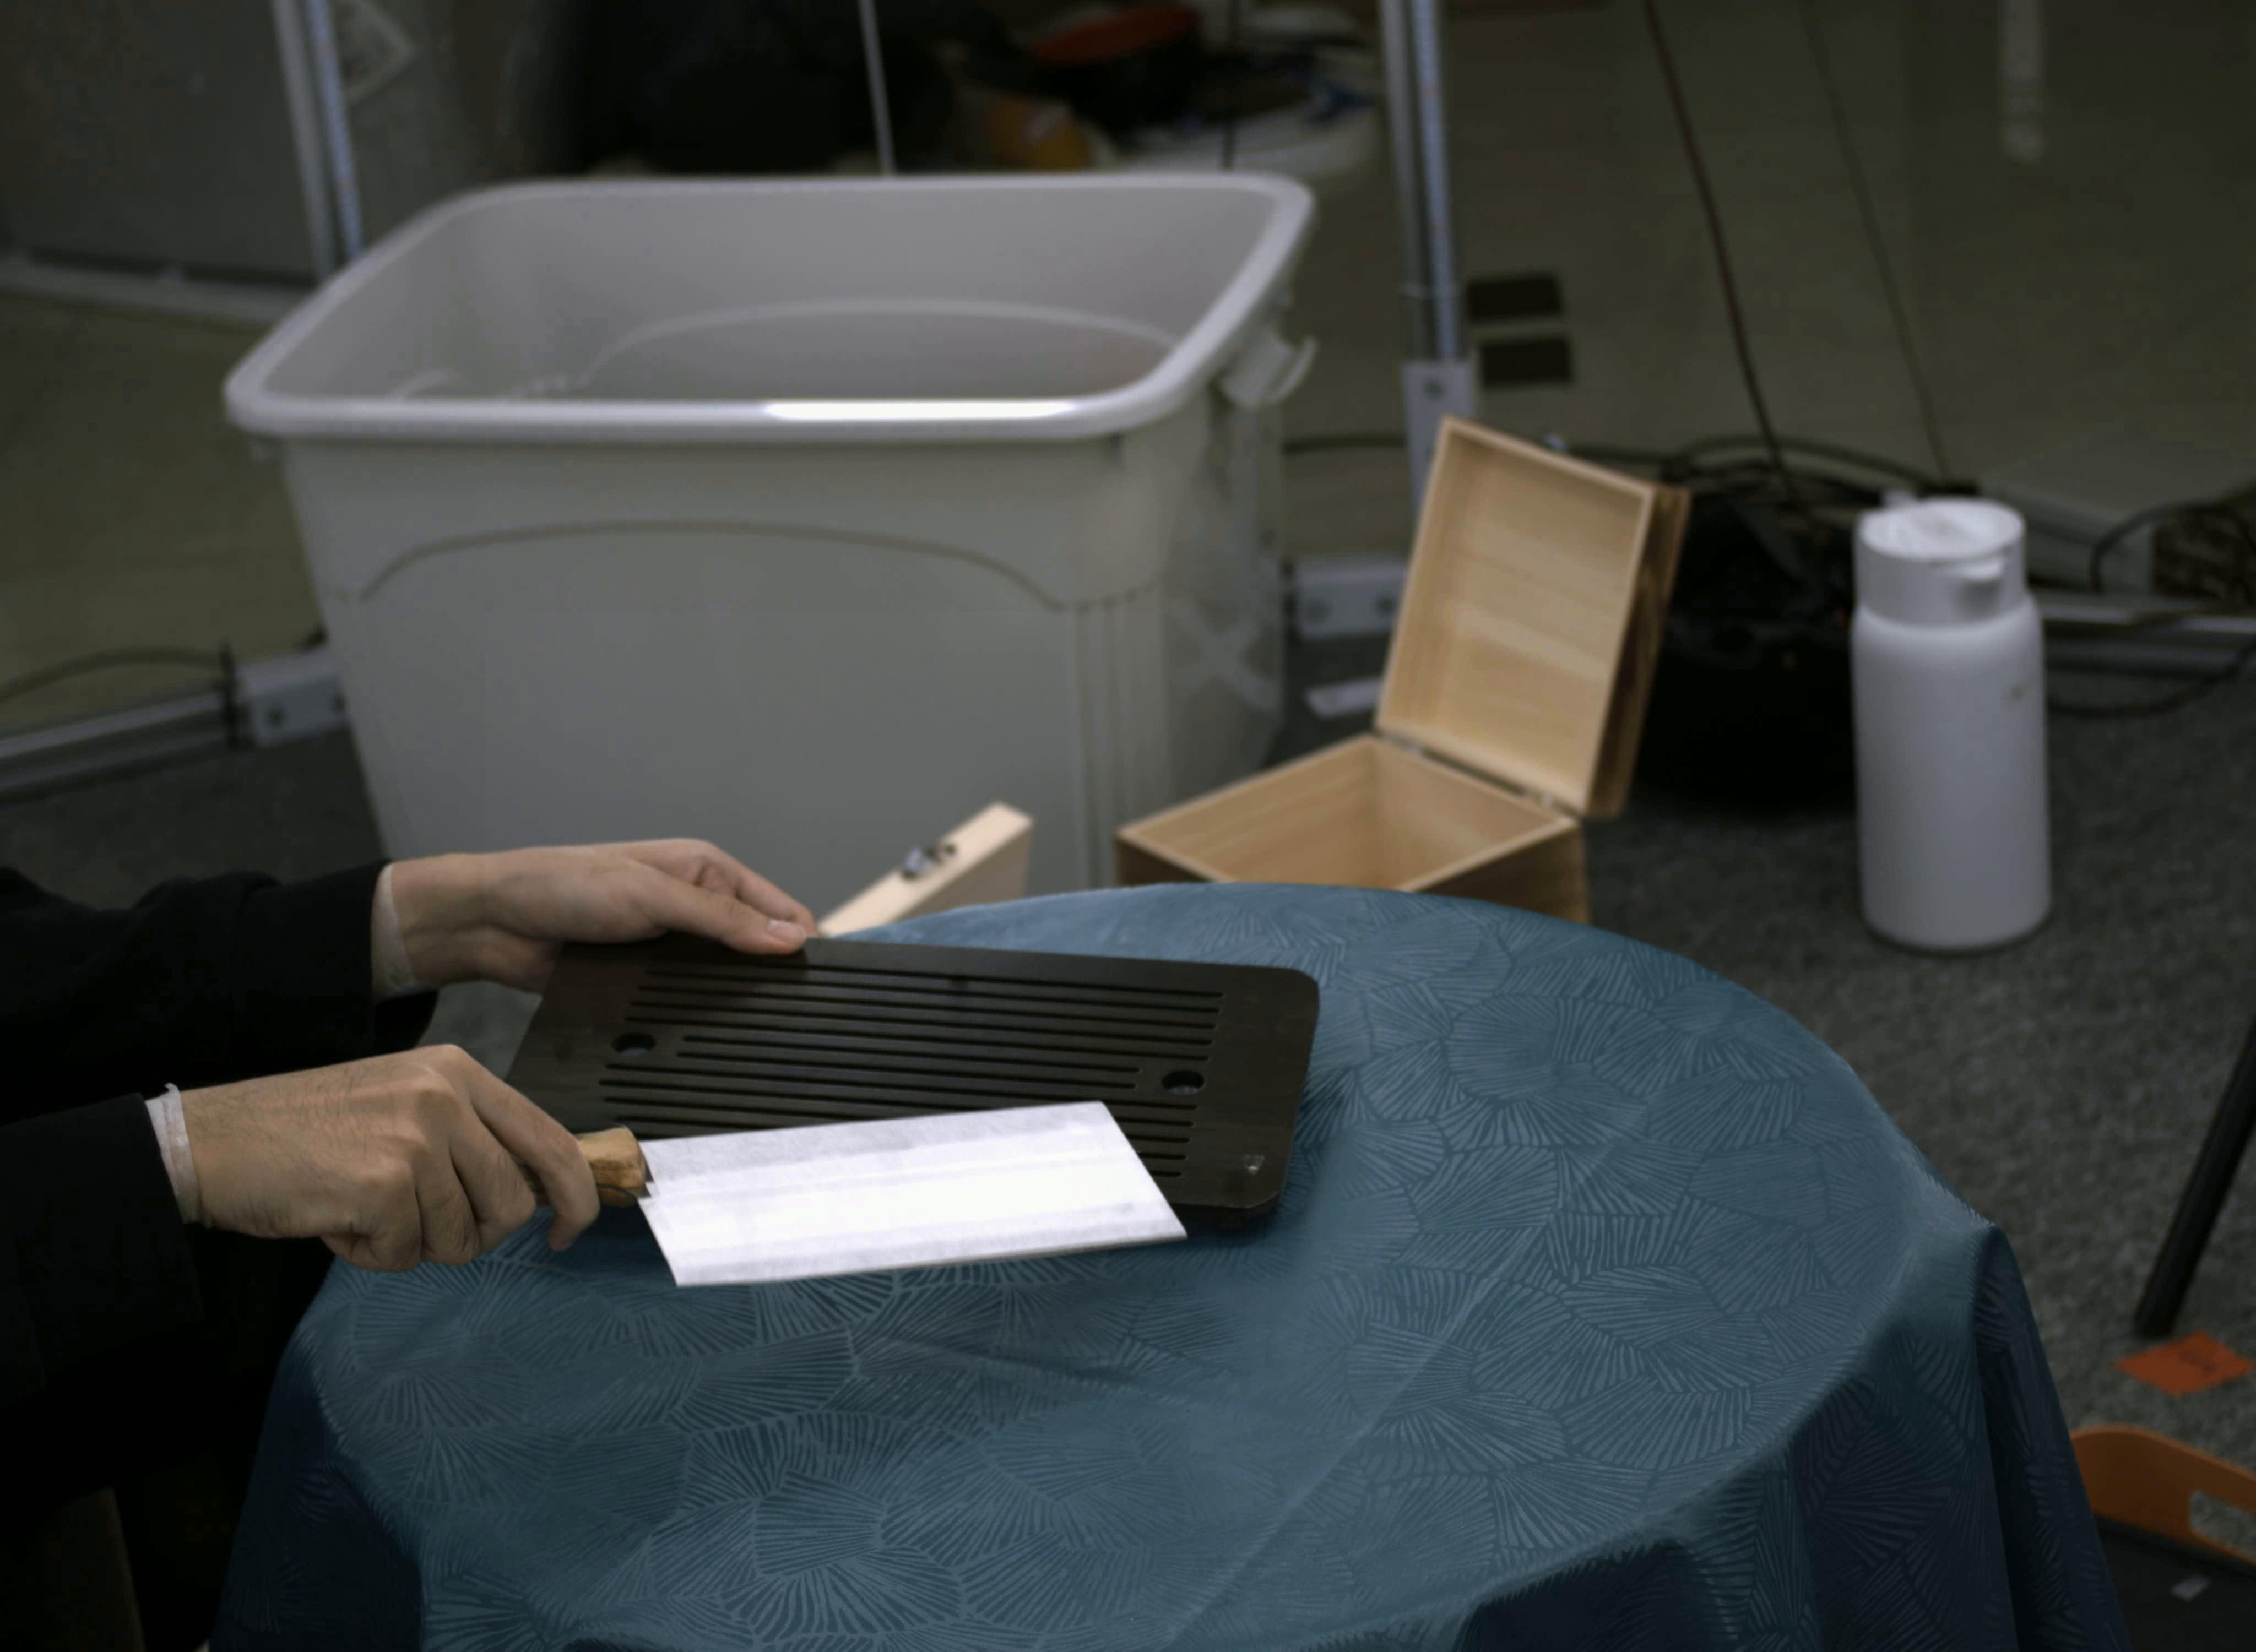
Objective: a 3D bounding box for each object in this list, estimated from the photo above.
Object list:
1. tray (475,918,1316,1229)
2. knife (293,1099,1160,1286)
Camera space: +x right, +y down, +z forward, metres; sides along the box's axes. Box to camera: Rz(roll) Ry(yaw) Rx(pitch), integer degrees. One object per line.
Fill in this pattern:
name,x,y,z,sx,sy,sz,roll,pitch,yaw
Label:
tray,-0.087,0.095,2.190,0.305,0.019,0.167,4,31,7
knife,-0.136,0.131,1.996,0.305,0.021,0.091,-4,31,-22
